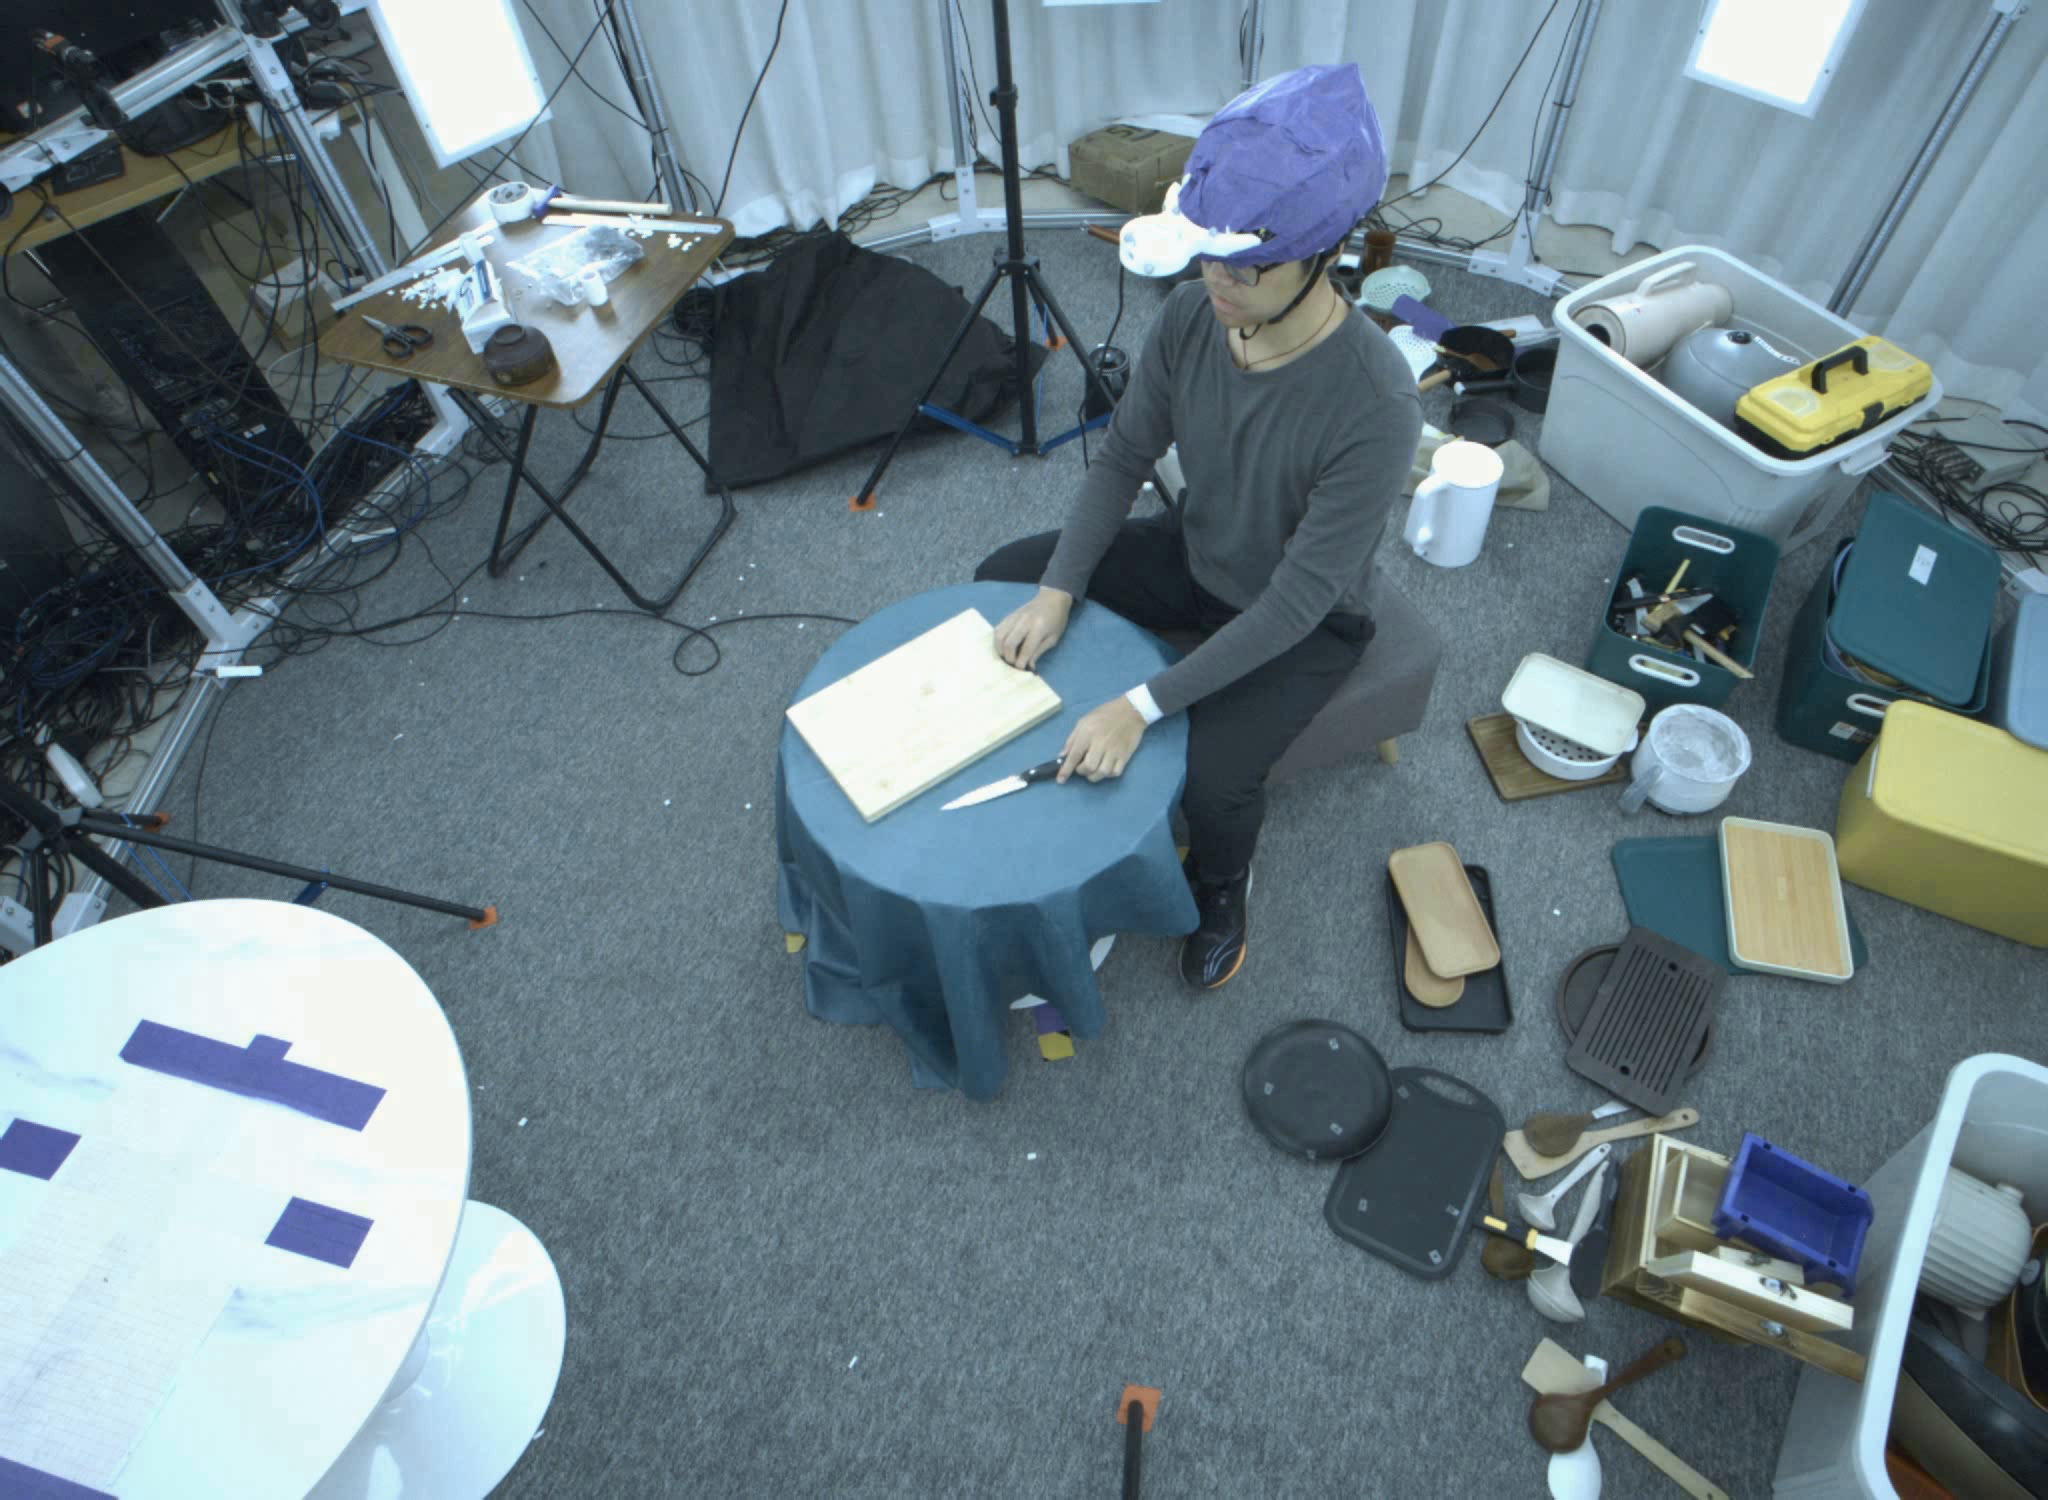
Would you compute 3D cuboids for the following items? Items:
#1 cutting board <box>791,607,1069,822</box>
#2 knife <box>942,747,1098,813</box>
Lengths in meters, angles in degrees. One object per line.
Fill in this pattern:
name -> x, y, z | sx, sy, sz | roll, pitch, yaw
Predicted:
cutting board -> -0.145, -0.062, 1.834 | 0.351, 0.024, 0.246 | -32, 60, -19
knife -> -0.007, 0.043, 1.757 | 0.239, 0.016, 0.024 | -21, 56, -10
